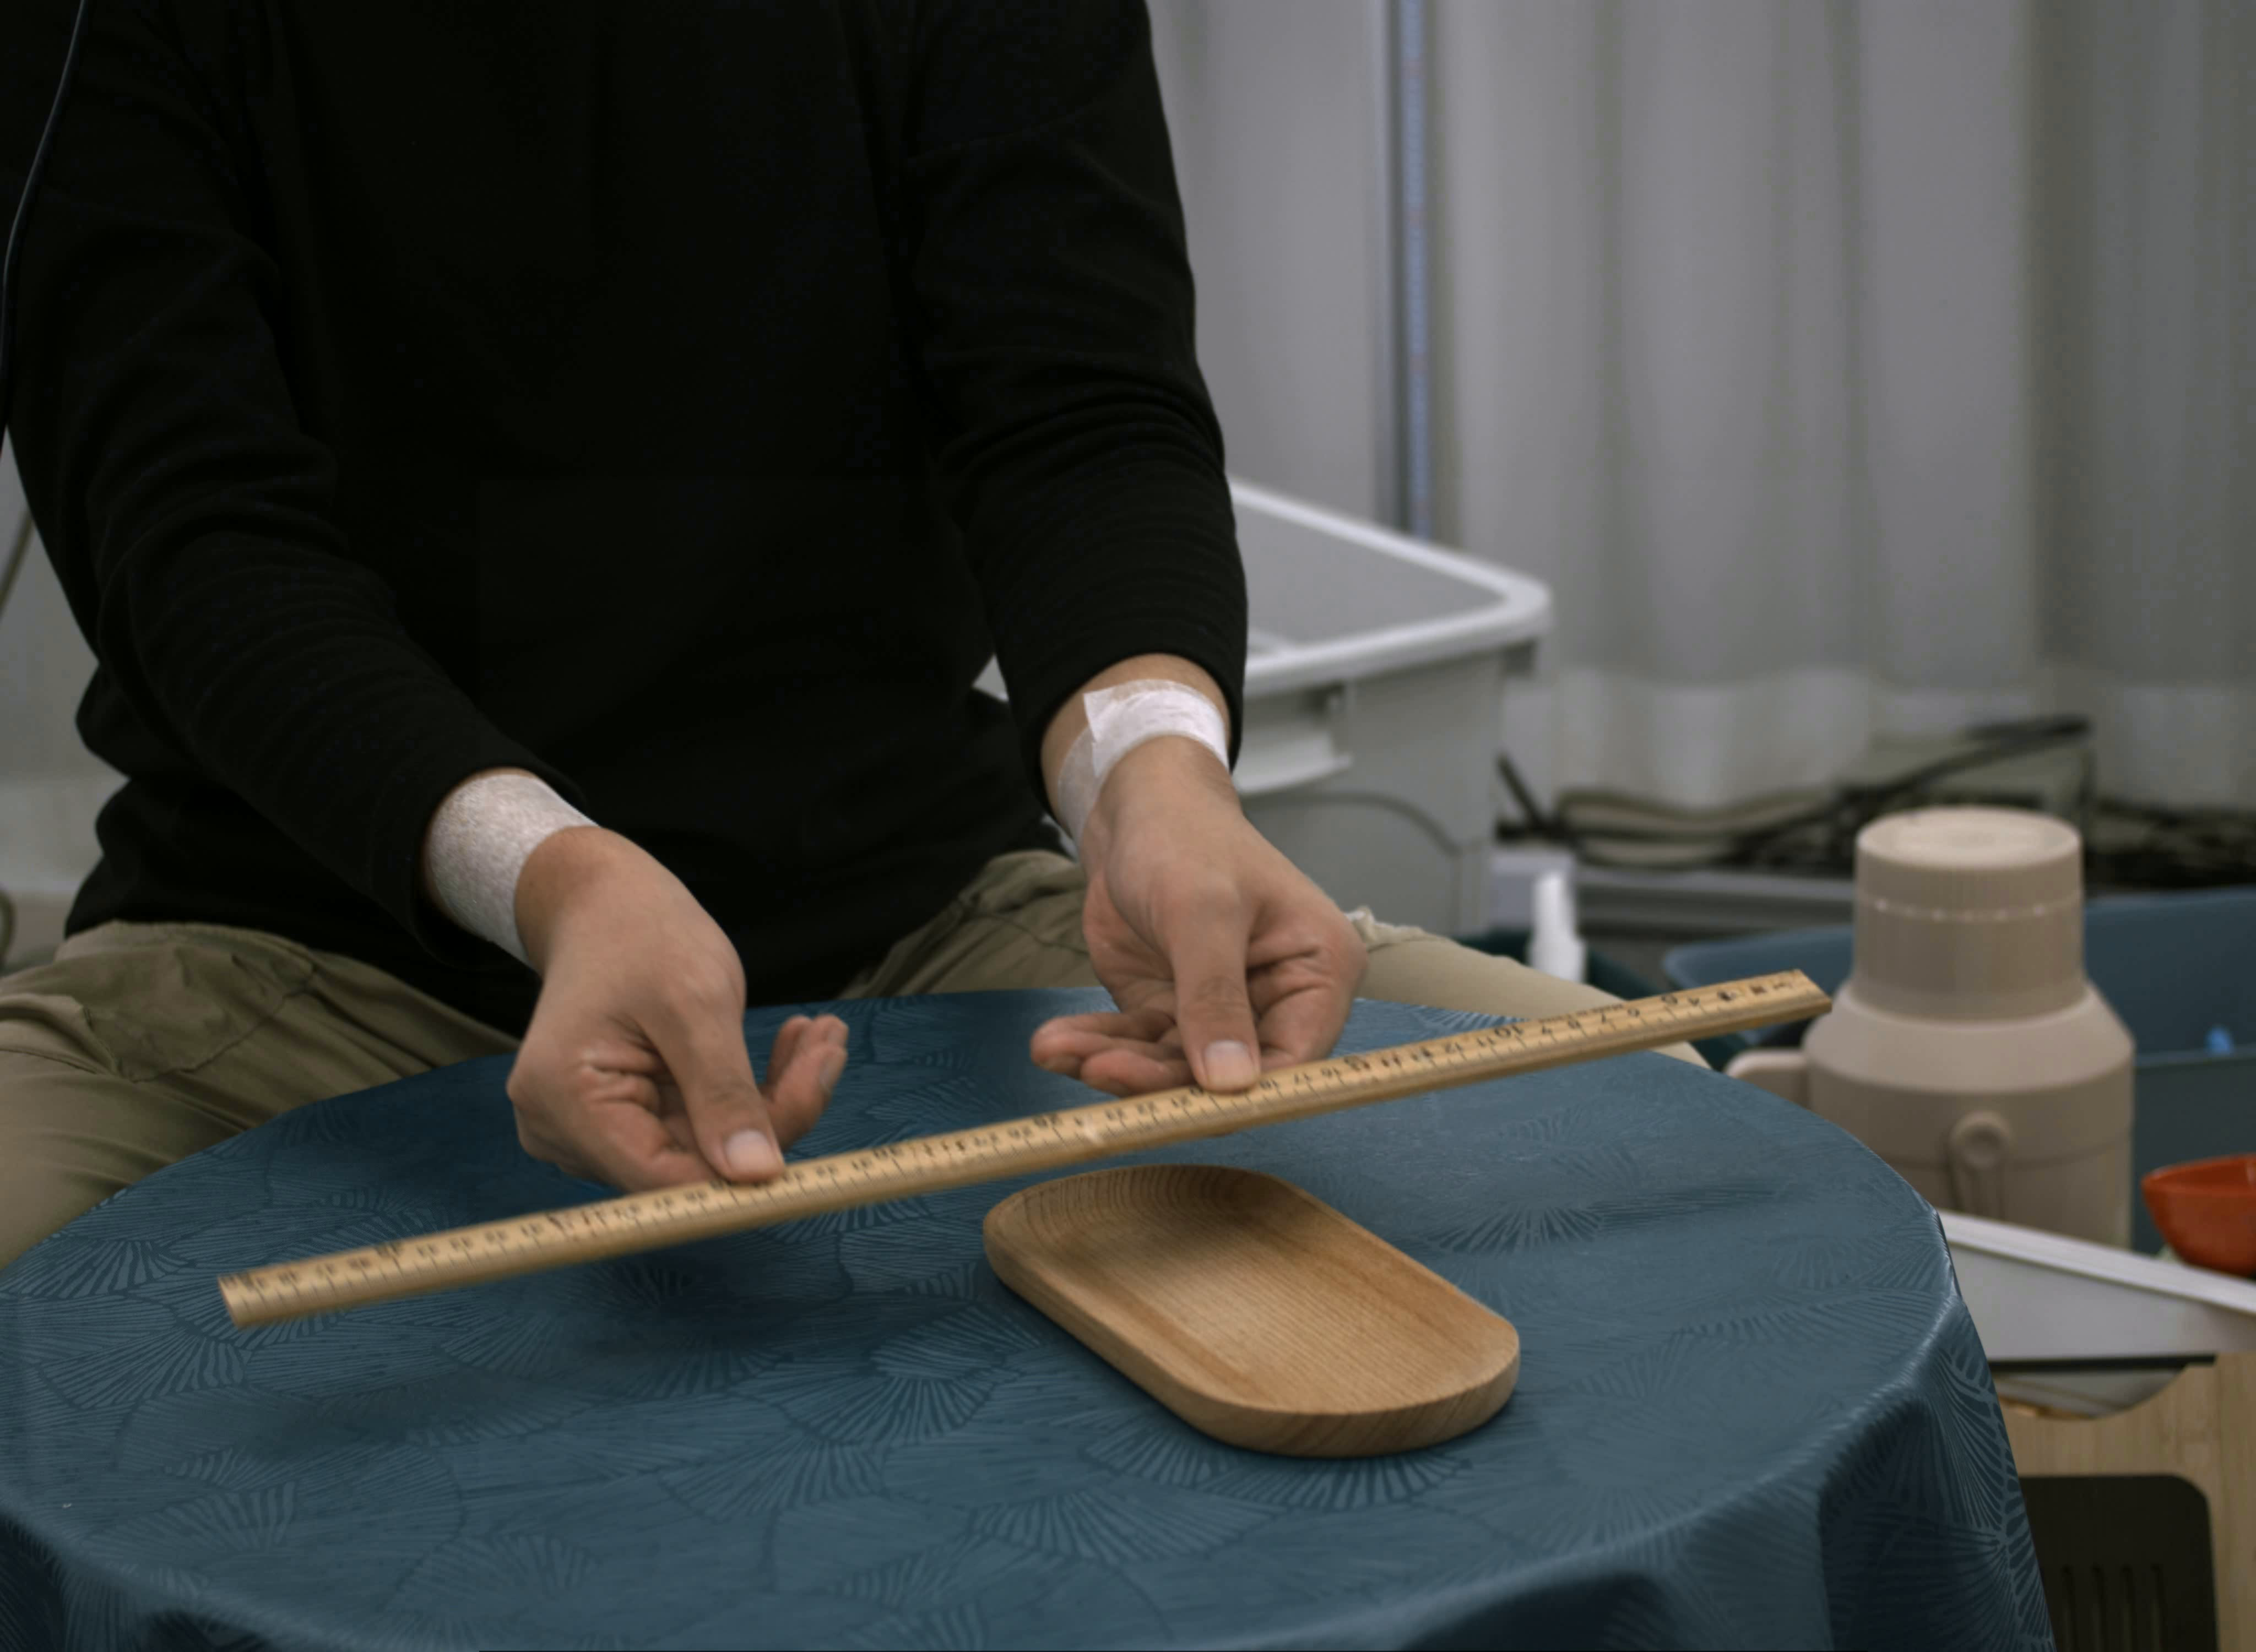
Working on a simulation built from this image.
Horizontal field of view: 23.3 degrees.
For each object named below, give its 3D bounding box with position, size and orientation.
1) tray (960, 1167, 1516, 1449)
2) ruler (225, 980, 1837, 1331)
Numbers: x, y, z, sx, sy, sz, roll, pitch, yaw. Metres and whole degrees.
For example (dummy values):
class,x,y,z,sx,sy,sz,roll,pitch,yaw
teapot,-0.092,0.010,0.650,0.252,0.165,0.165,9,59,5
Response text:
class,x,y,z,sx,sy,sz,roll,pitch,yaw
tray,0.029,0.138,1.588,0.101,0.020,0.233,-8,14,-25
ruler,-0.020,0.094,1.619,0.498,0.006,0.027,-10,25,-17
